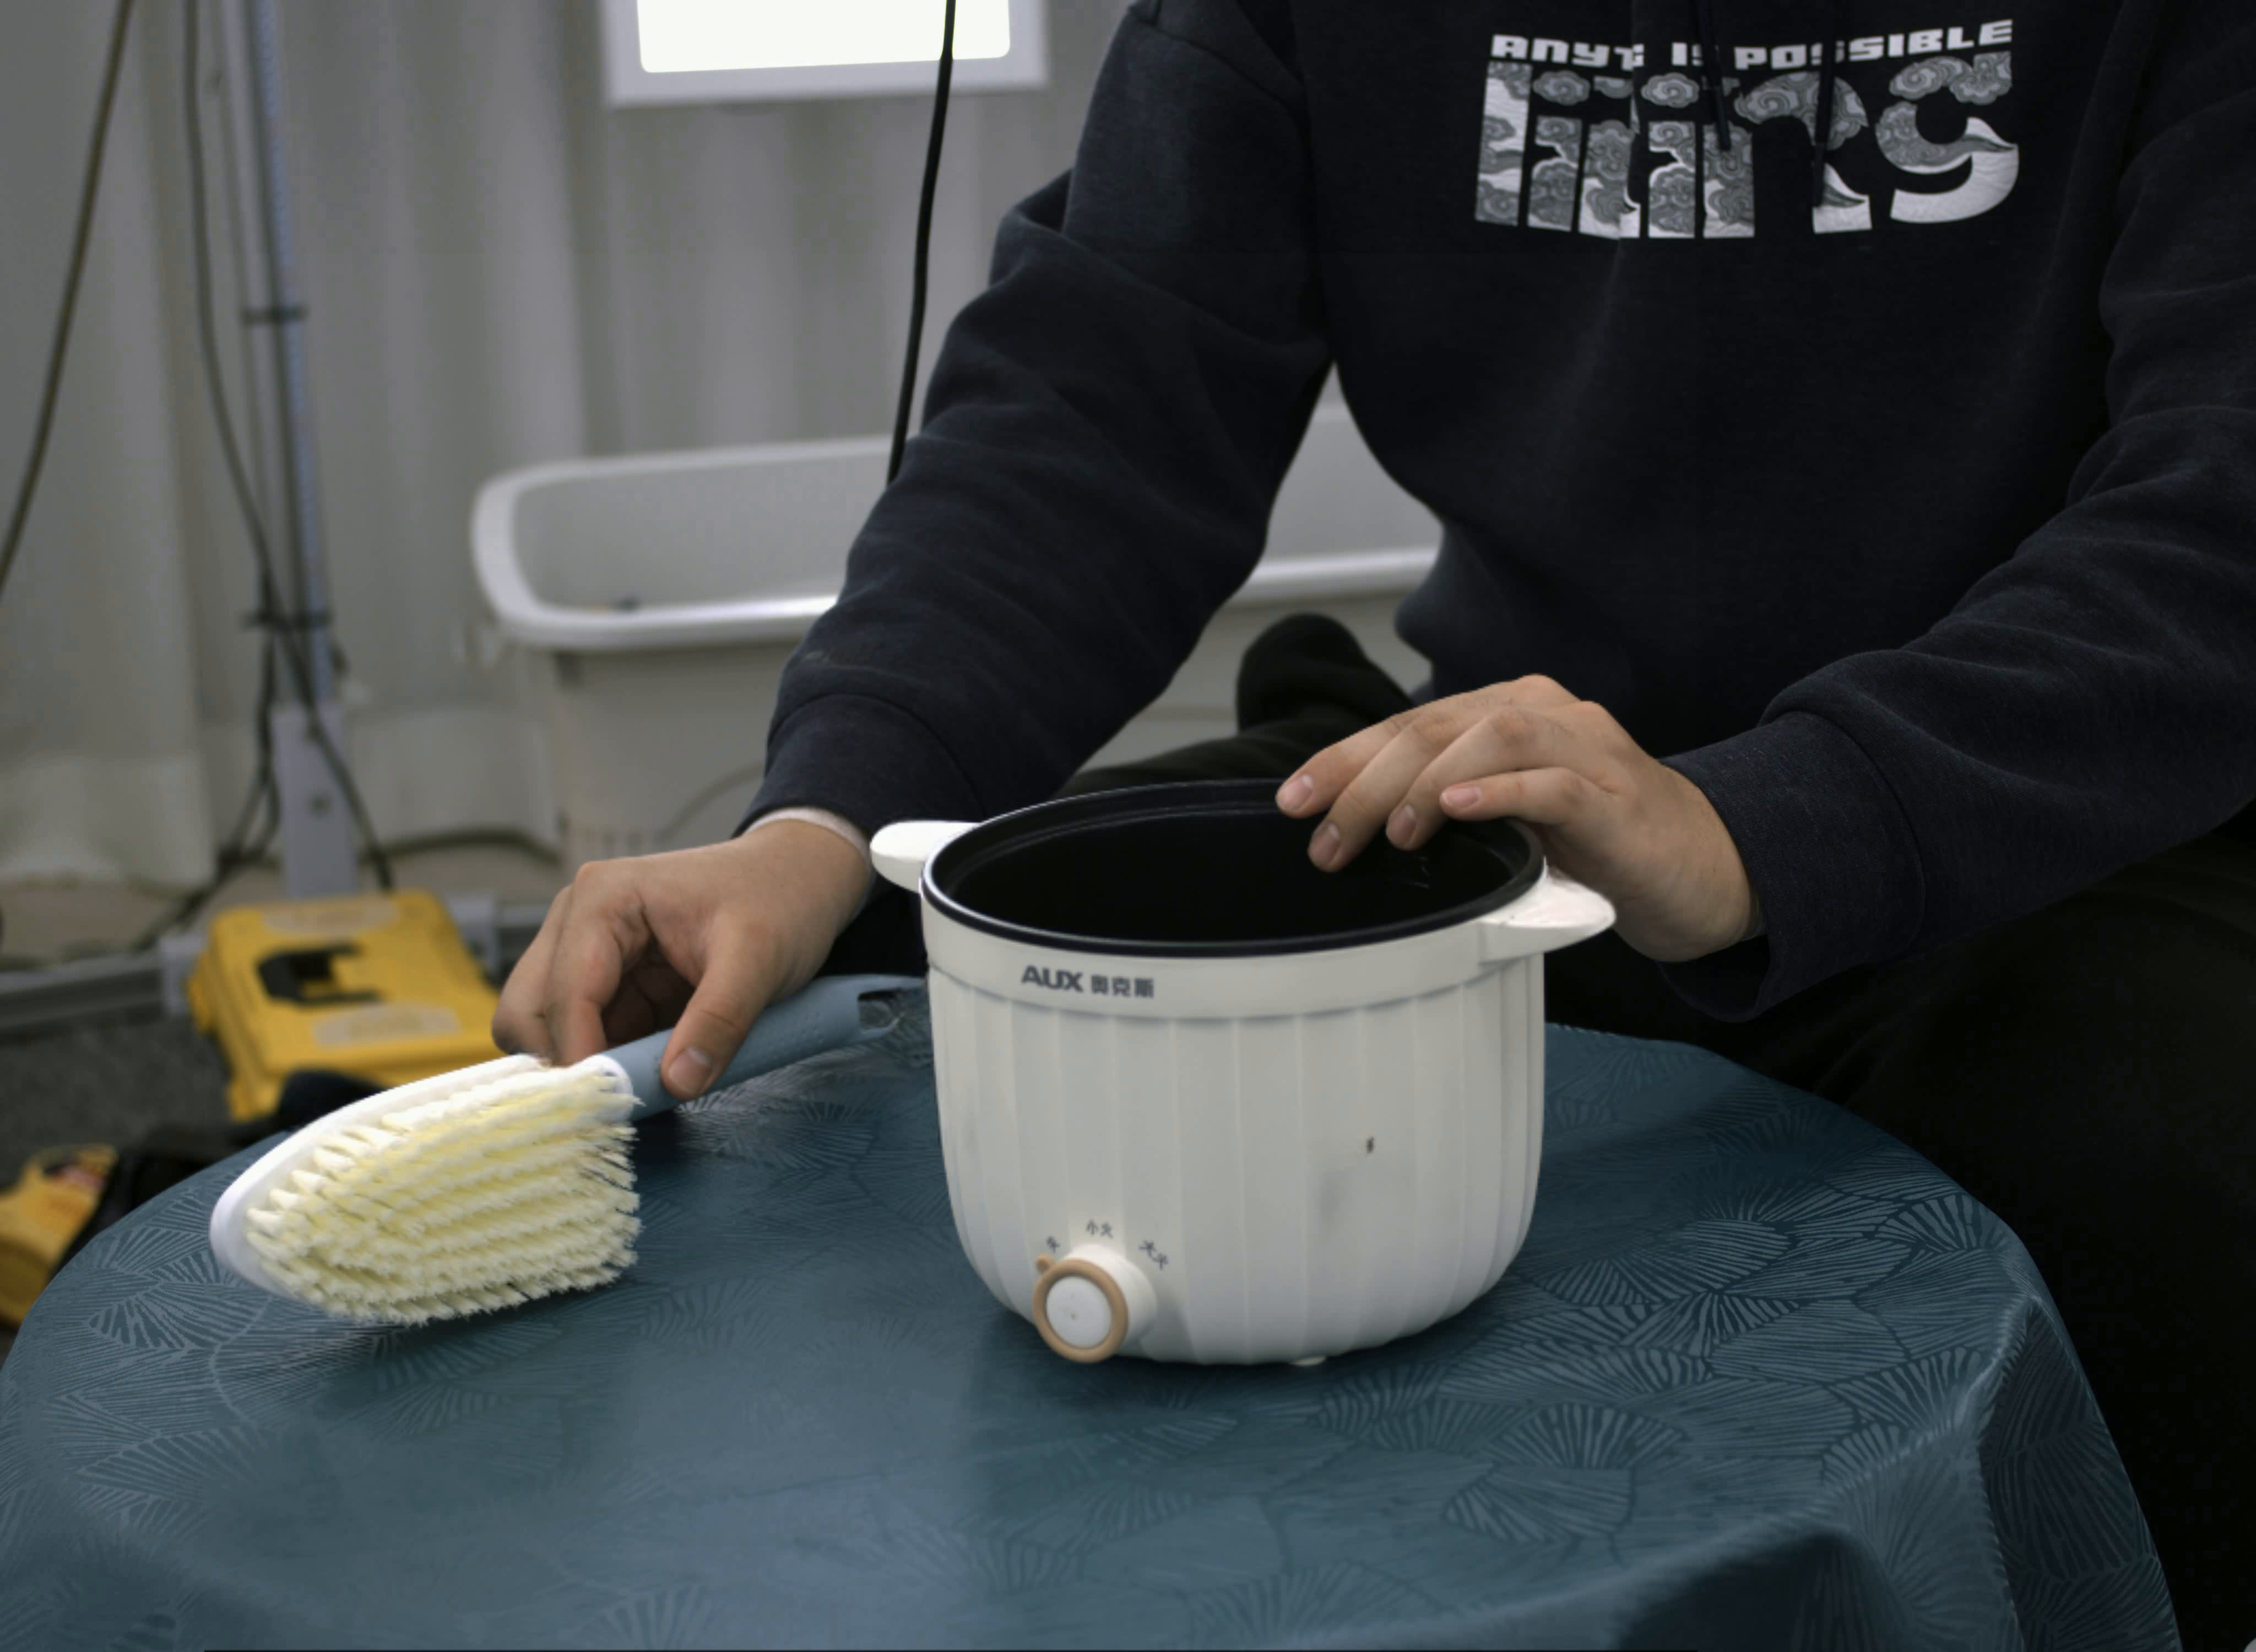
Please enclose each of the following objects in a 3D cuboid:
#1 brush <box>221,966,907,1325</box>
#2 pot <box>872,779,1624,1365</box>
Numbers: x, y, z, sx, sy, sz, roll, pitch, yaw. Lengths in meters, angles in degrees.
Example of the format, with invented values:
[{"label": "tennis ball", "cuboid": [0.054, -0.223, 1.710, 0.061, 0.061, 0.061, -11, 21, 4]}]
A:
[{"label": "brush", "cuboid": [-0.146, 0.087, 1.704, 0.085, 0.082, 0.325, 44, 32, 19]}, {"label": "pot", "cuboid": [0.032, 0.075, 1.595, 0.241, 0.142, 0.190, 4, 13, 29]}]
